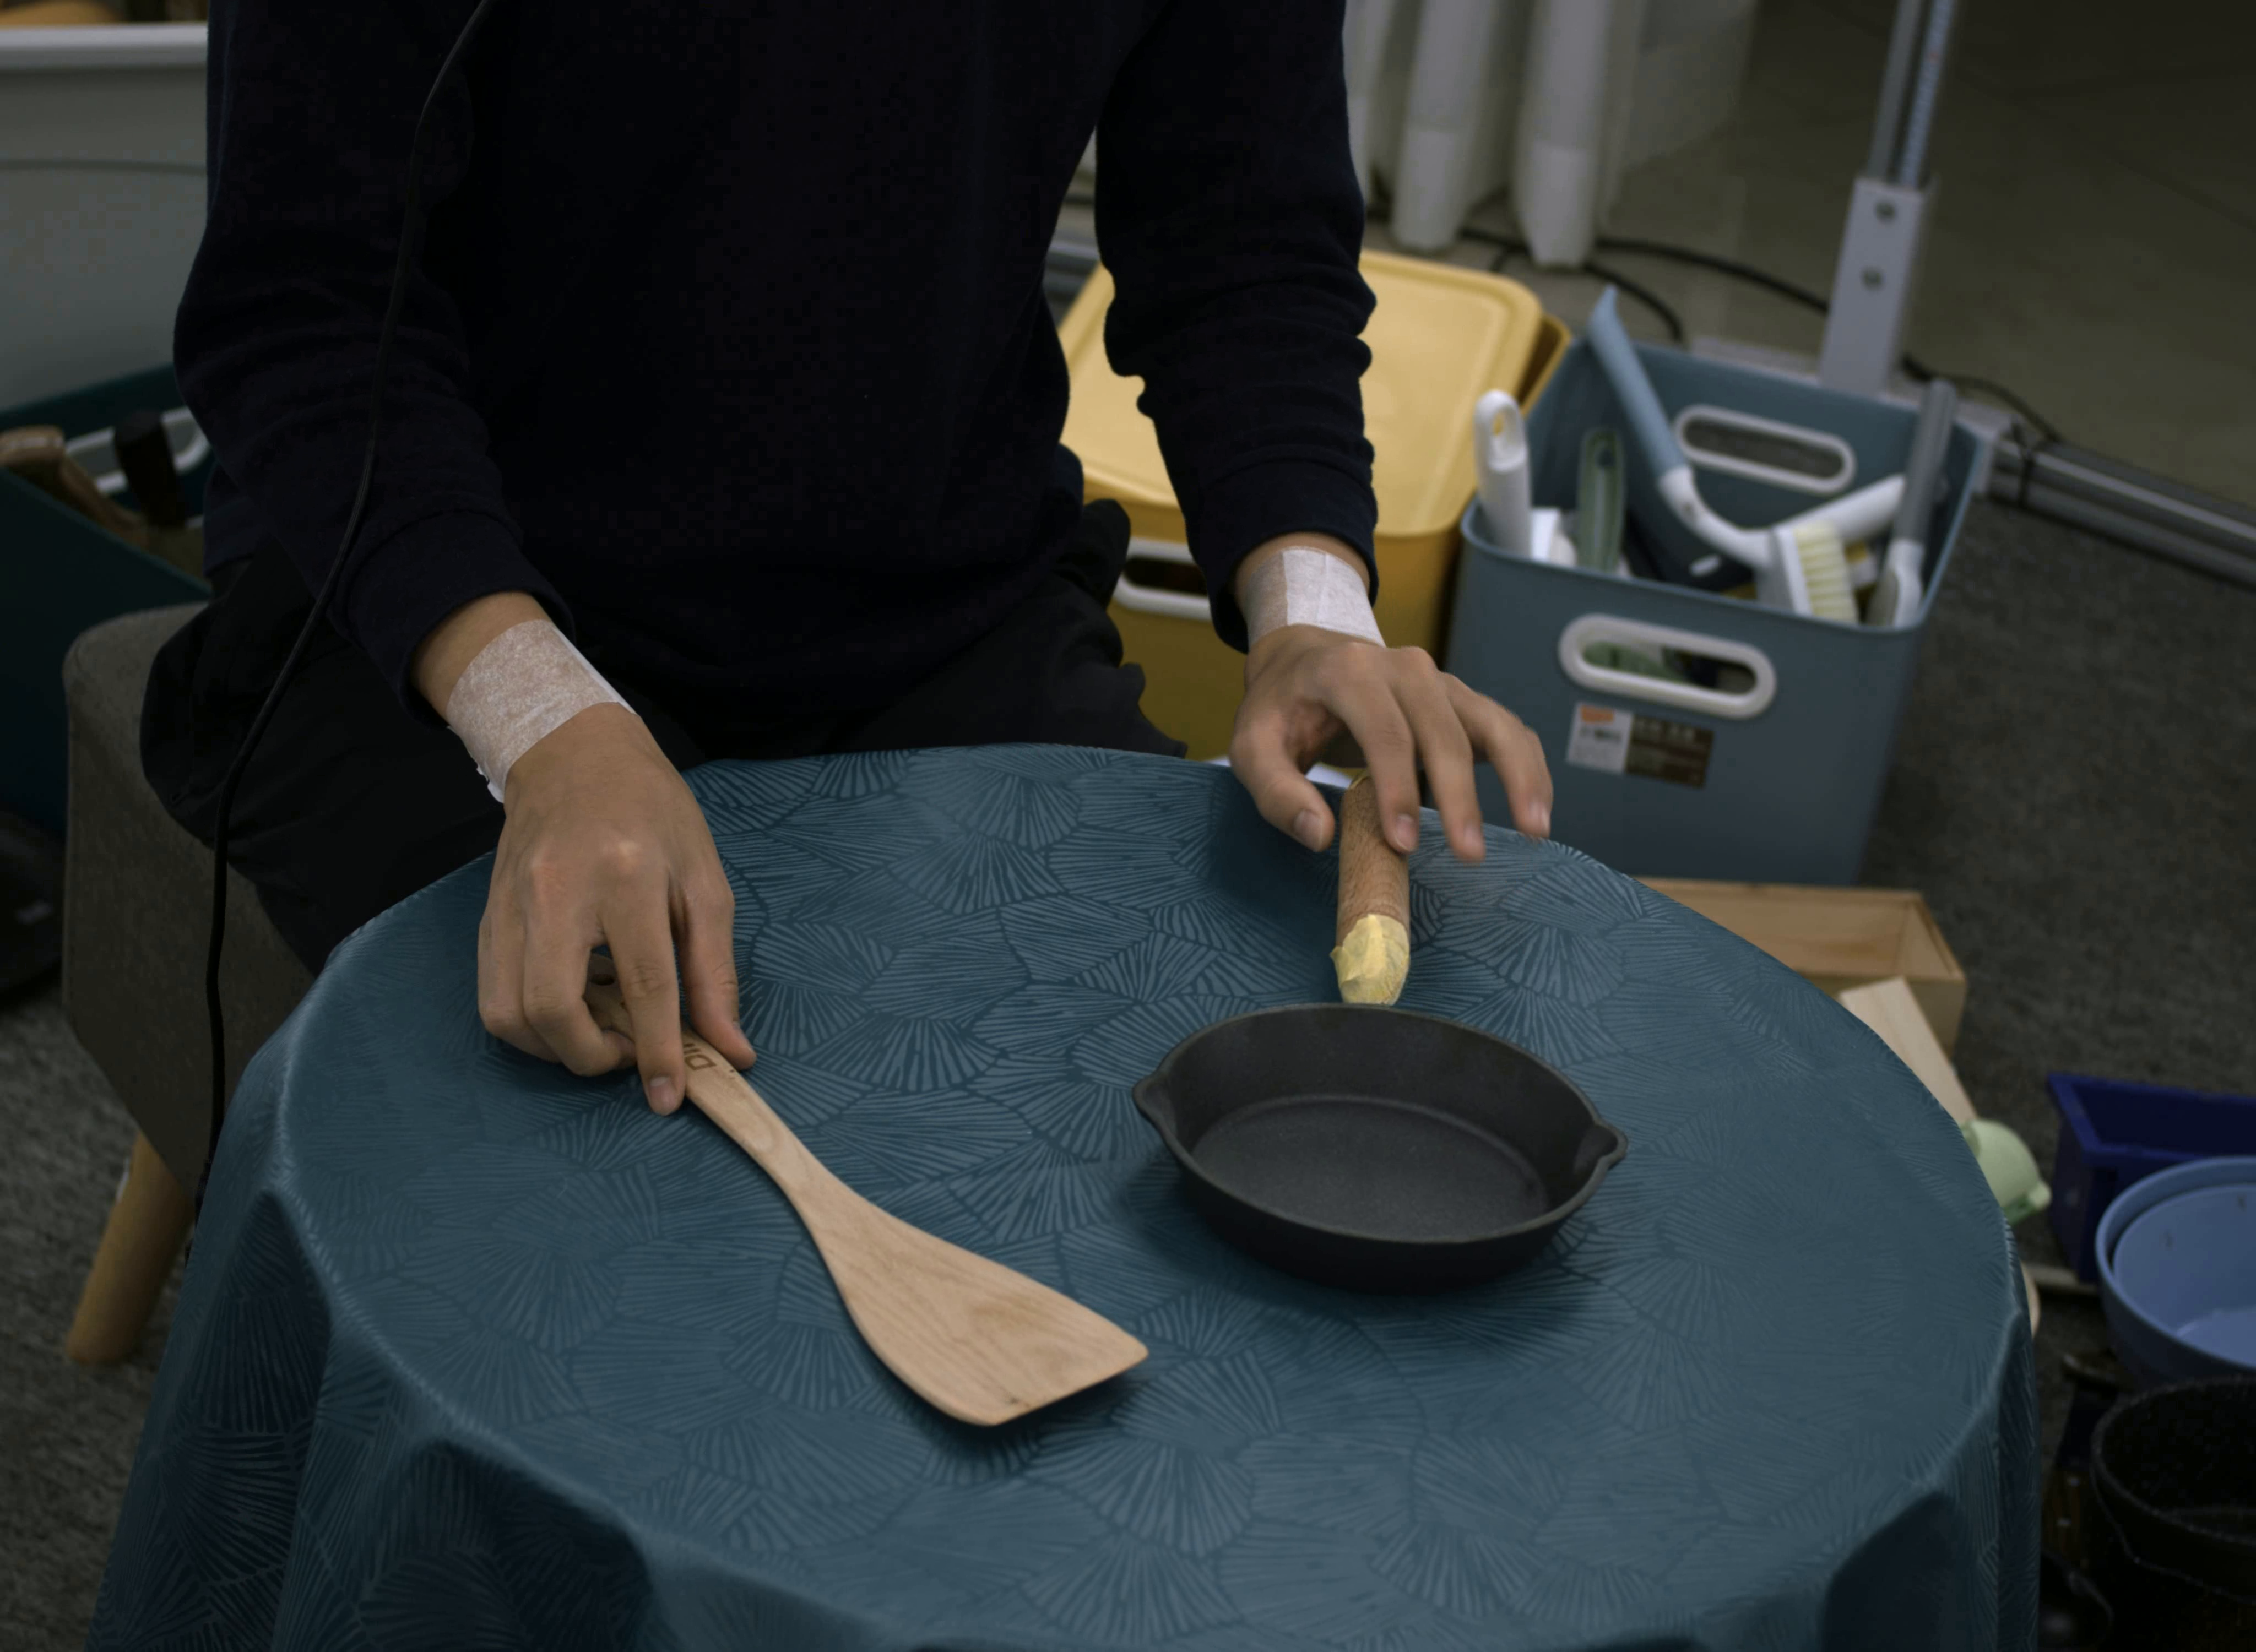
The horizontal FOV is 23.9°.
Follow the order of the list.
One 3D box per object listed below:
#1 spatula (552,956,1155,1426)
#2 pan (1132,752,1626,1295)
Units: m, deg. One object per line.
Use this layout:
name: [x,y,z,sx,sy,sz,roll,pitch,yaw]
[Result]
spatula: [-0.105,0.115,1.778,0.079,0.016,0.330,-11,32,-33]
pan: [0.089,0.066,1.879,0.168,0.049,0.326,7,29,1]
